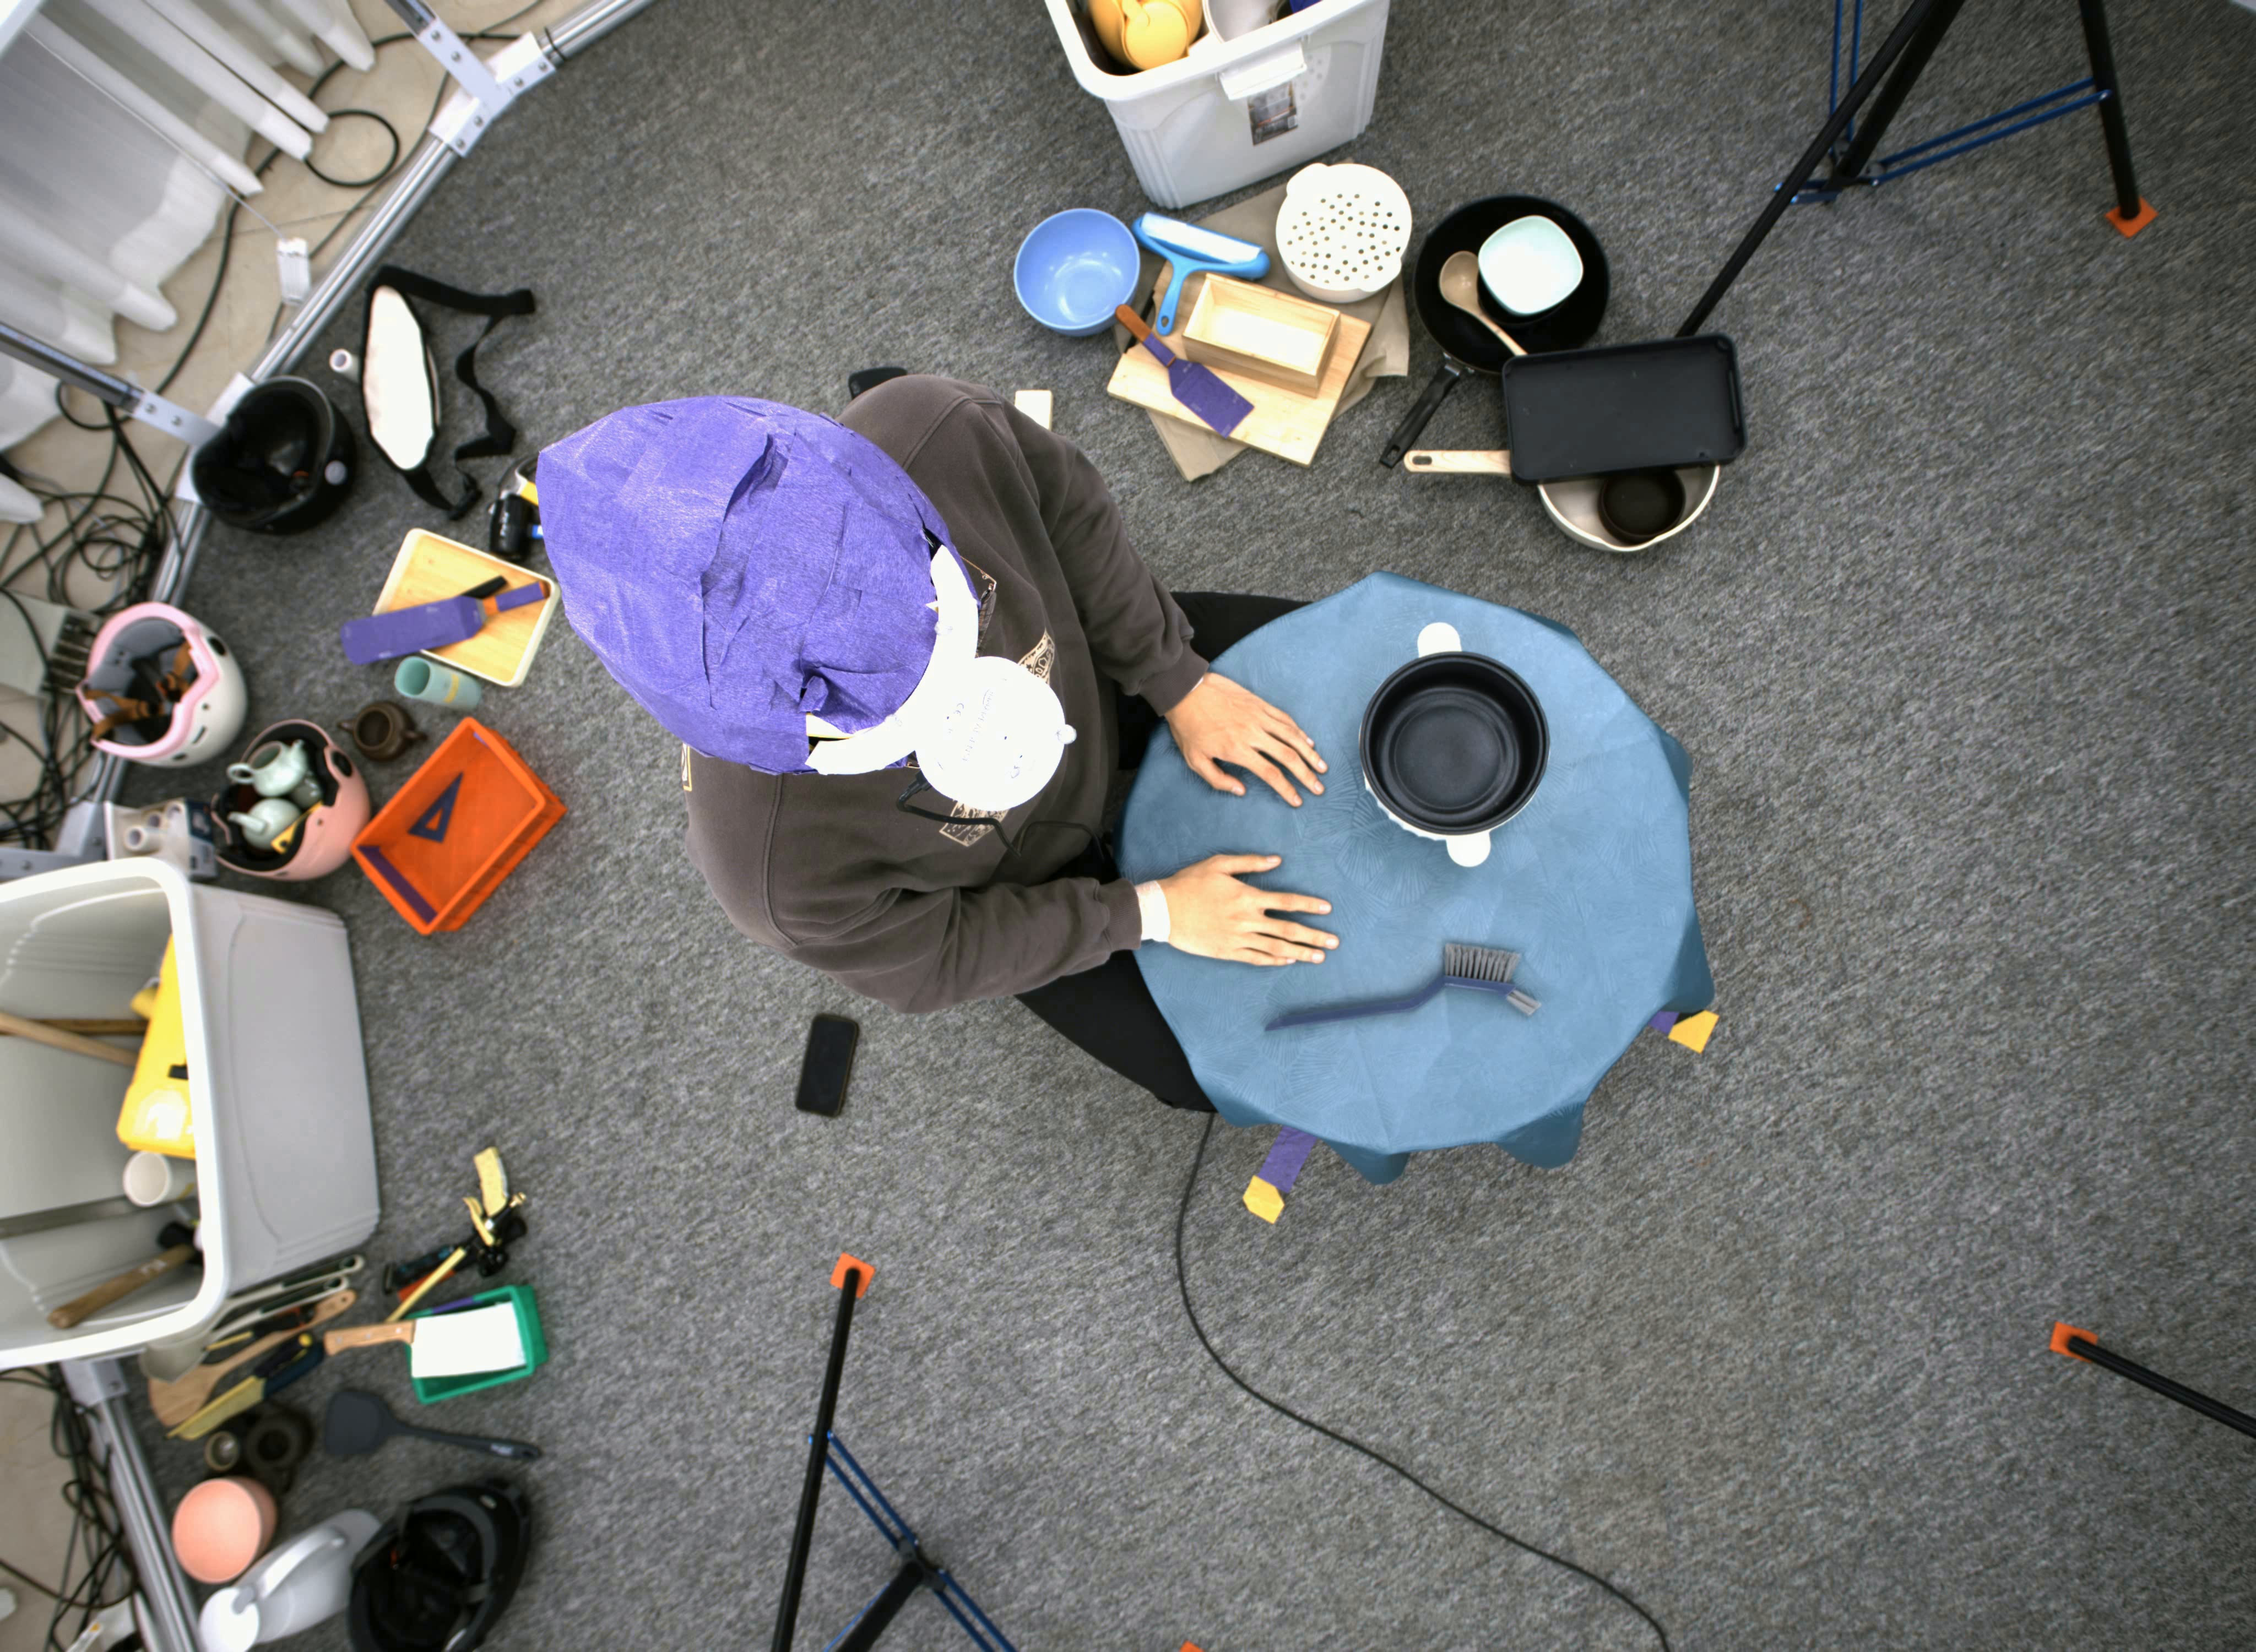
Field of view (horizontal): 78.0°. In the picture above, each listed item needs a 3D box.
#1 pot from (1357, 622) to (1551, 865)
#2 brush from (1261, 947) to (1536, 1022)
[{"bbox_3d":[0.329,-0.079,1.383,0.192,0.142,0.239,-9,86,14],"label":"pot"},{"bbox_3d":[0.277,0.191,1.435,0.274,0.033,0.095,-17,84,8],"label":"brush"}]
